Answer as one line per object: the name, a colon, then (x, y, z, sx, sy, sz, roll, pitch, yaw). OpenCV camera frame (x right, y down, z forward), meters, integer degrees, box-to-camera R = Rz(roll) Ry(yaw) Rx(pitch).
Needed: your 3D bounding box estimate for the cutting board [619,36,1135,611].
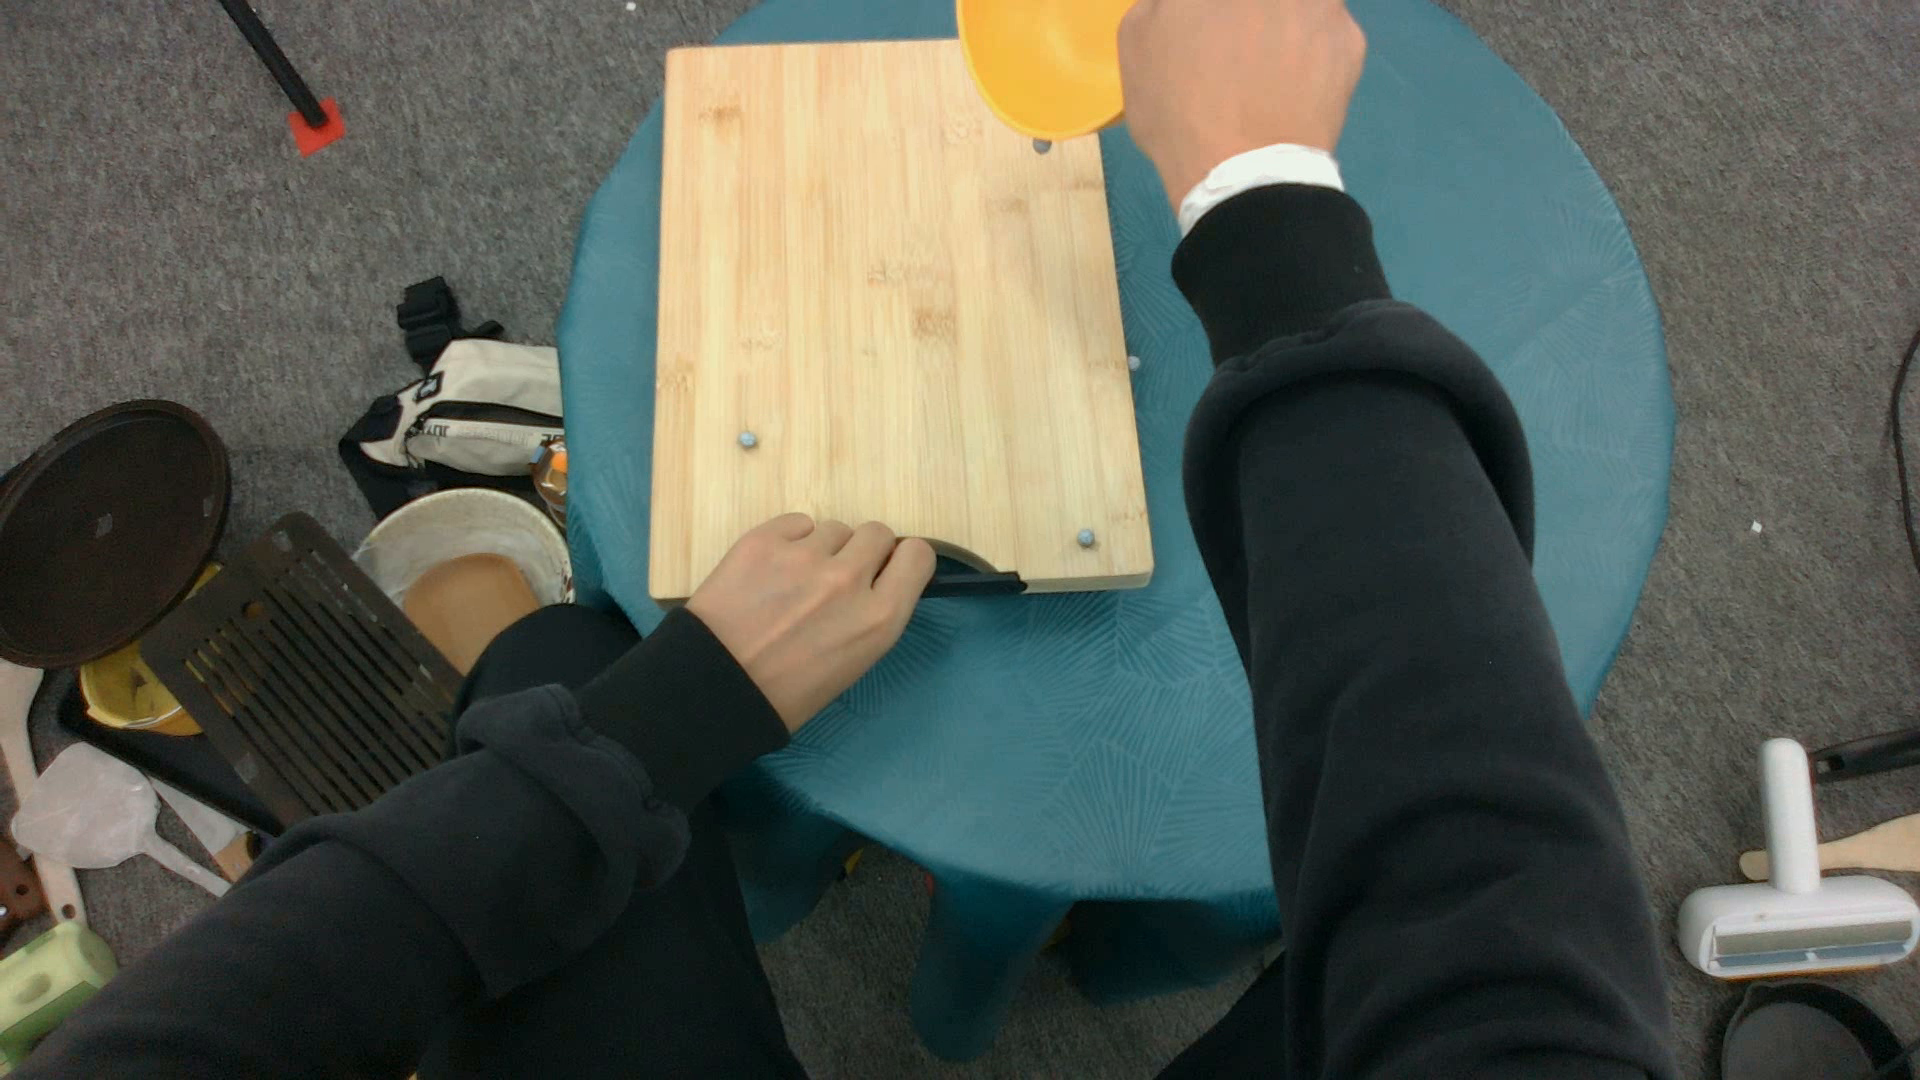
cutting board: (-0.048, -0.131, 0.724, 0.251, 0.023, 0.350, -4, 65, -4)

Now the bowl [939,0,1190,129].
bowl: (0.057, -0.253, 0.607, 0.060, 0.144, 0.145, -6, 66, -40)
